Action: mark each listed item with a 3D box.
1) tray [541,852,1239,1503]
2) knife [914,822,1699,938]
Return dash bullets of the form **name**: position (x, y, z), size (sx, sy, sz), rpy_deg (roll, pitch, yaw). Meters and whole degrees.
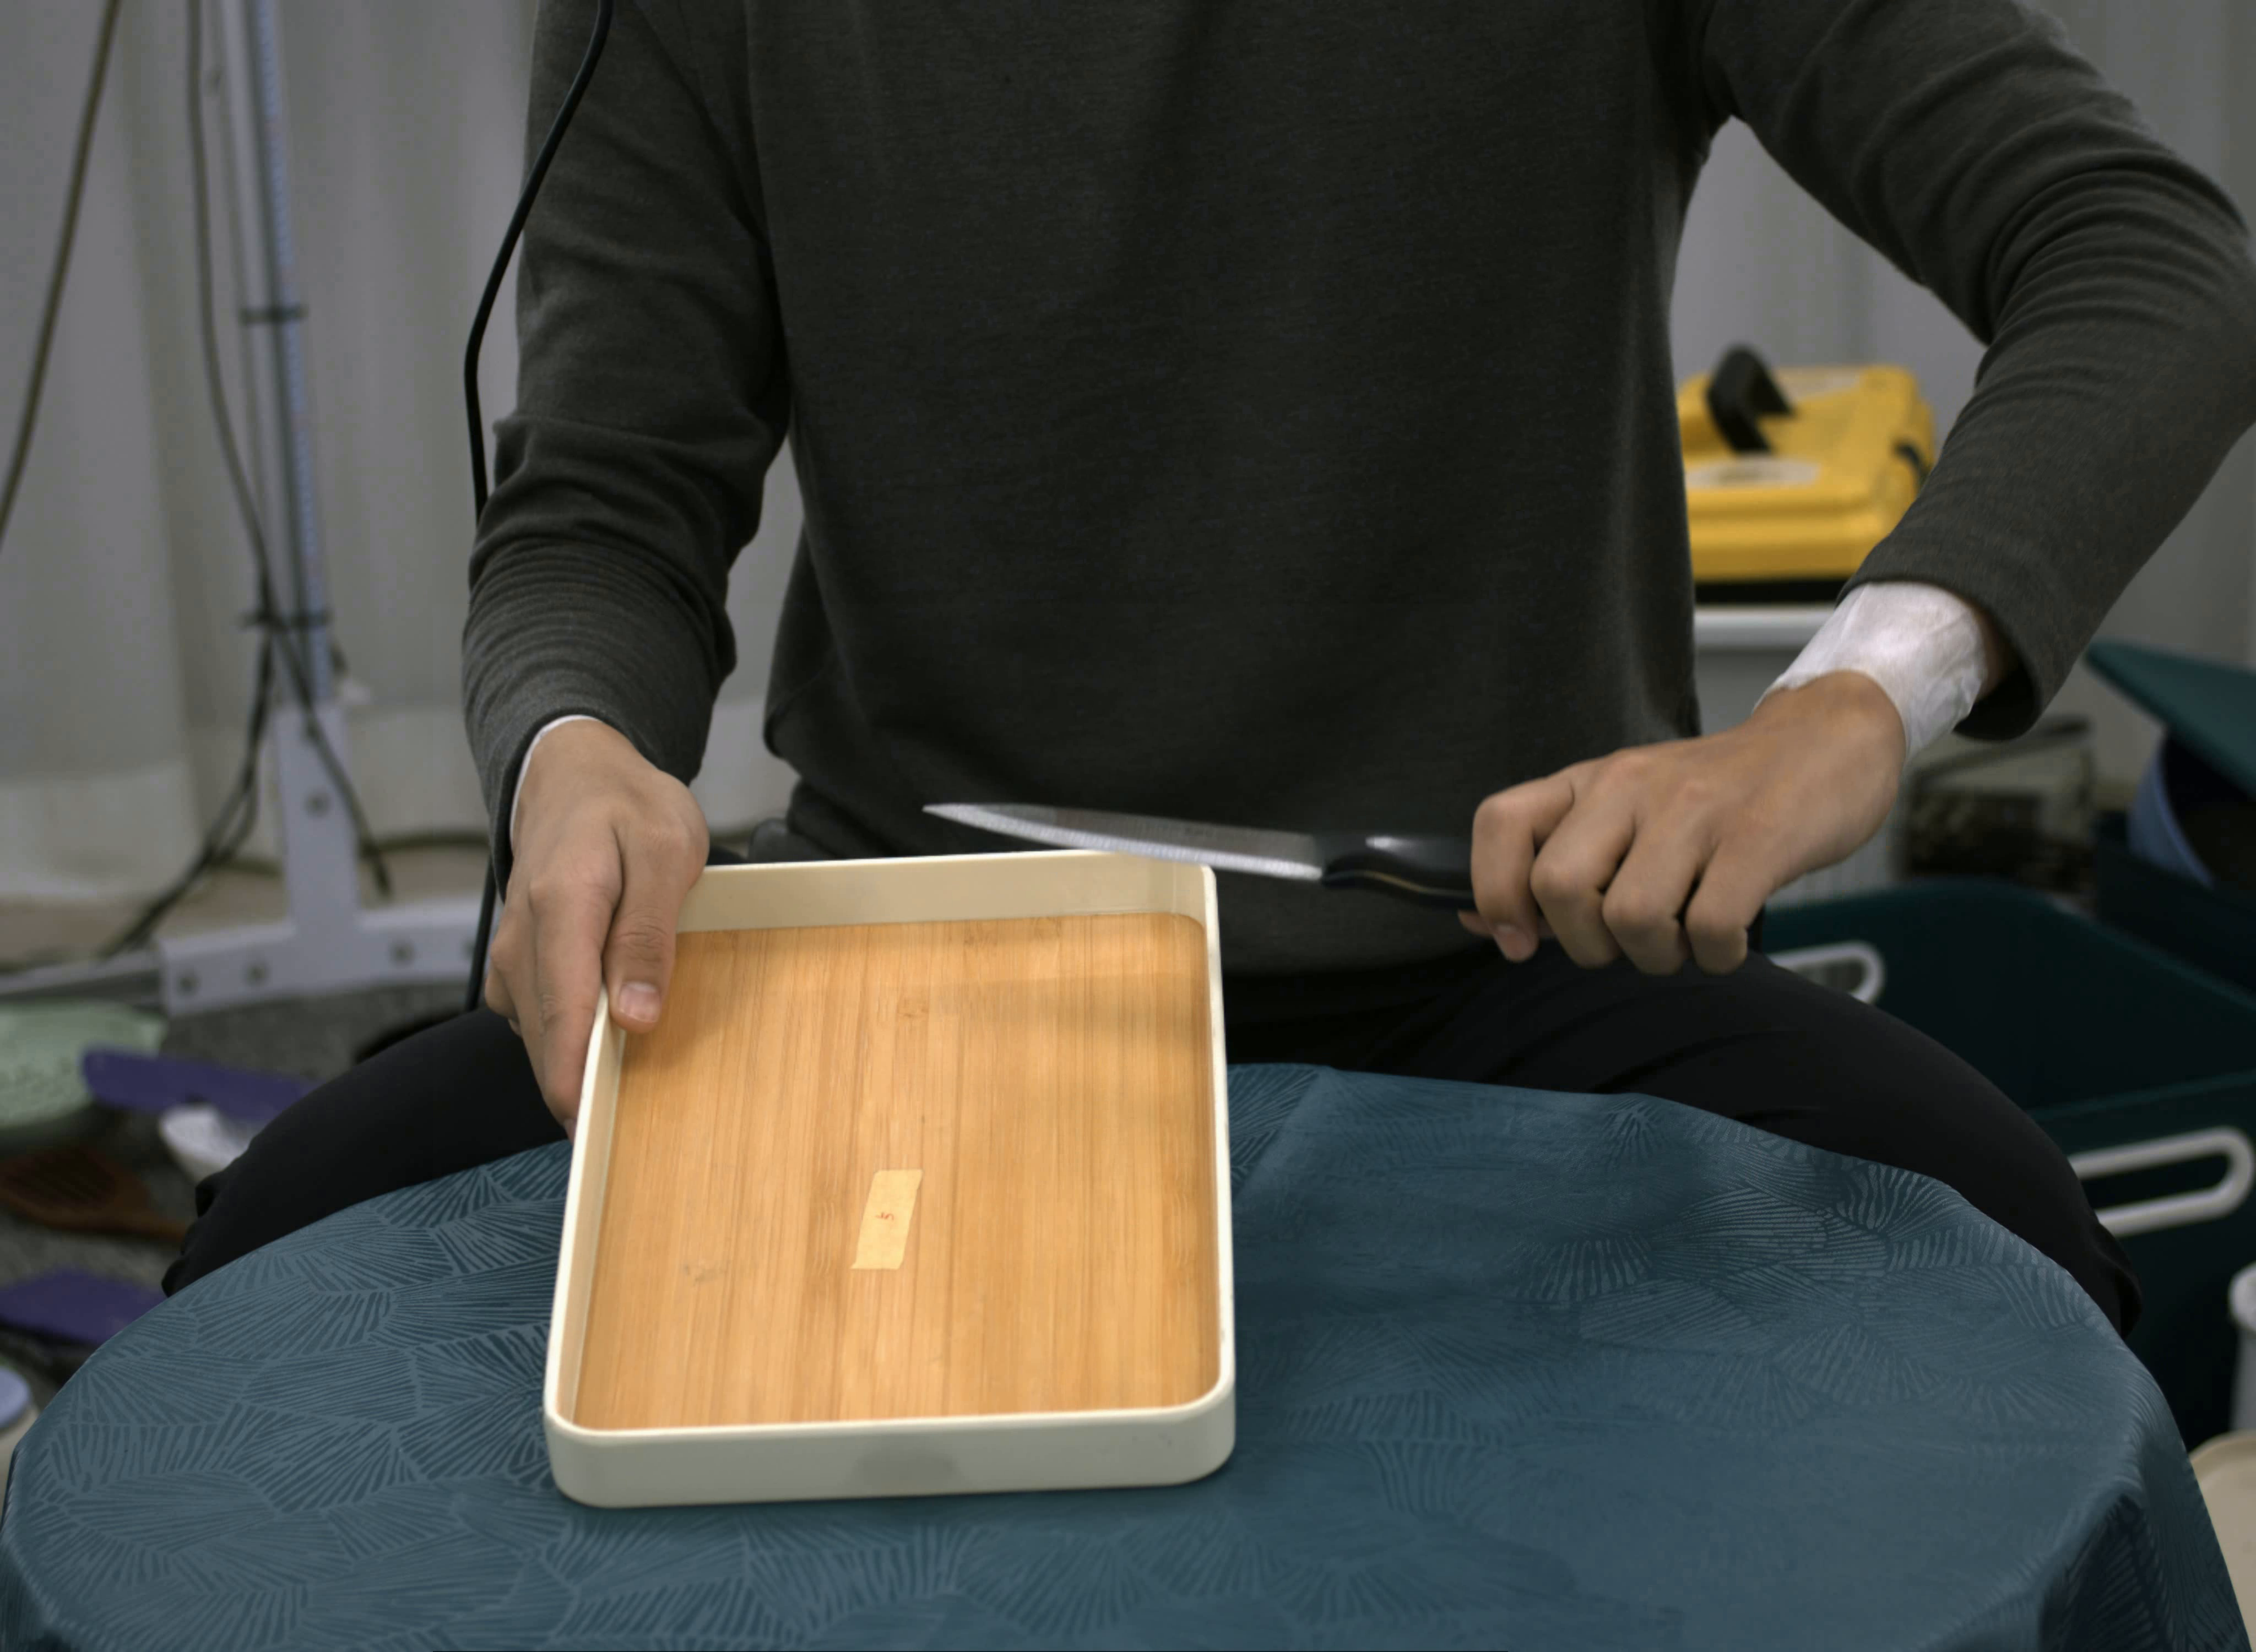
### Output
- **tray**: position (-0.064, 0.096, 1.599), size (0.191, 0.027, 0.304), rpy_deg (-2, 30, 1)
- **knife**: position (0.052, 0.012, 1.624), size (0.238, 0.016, 0.025), rpy_deg (6, 30, 11)
